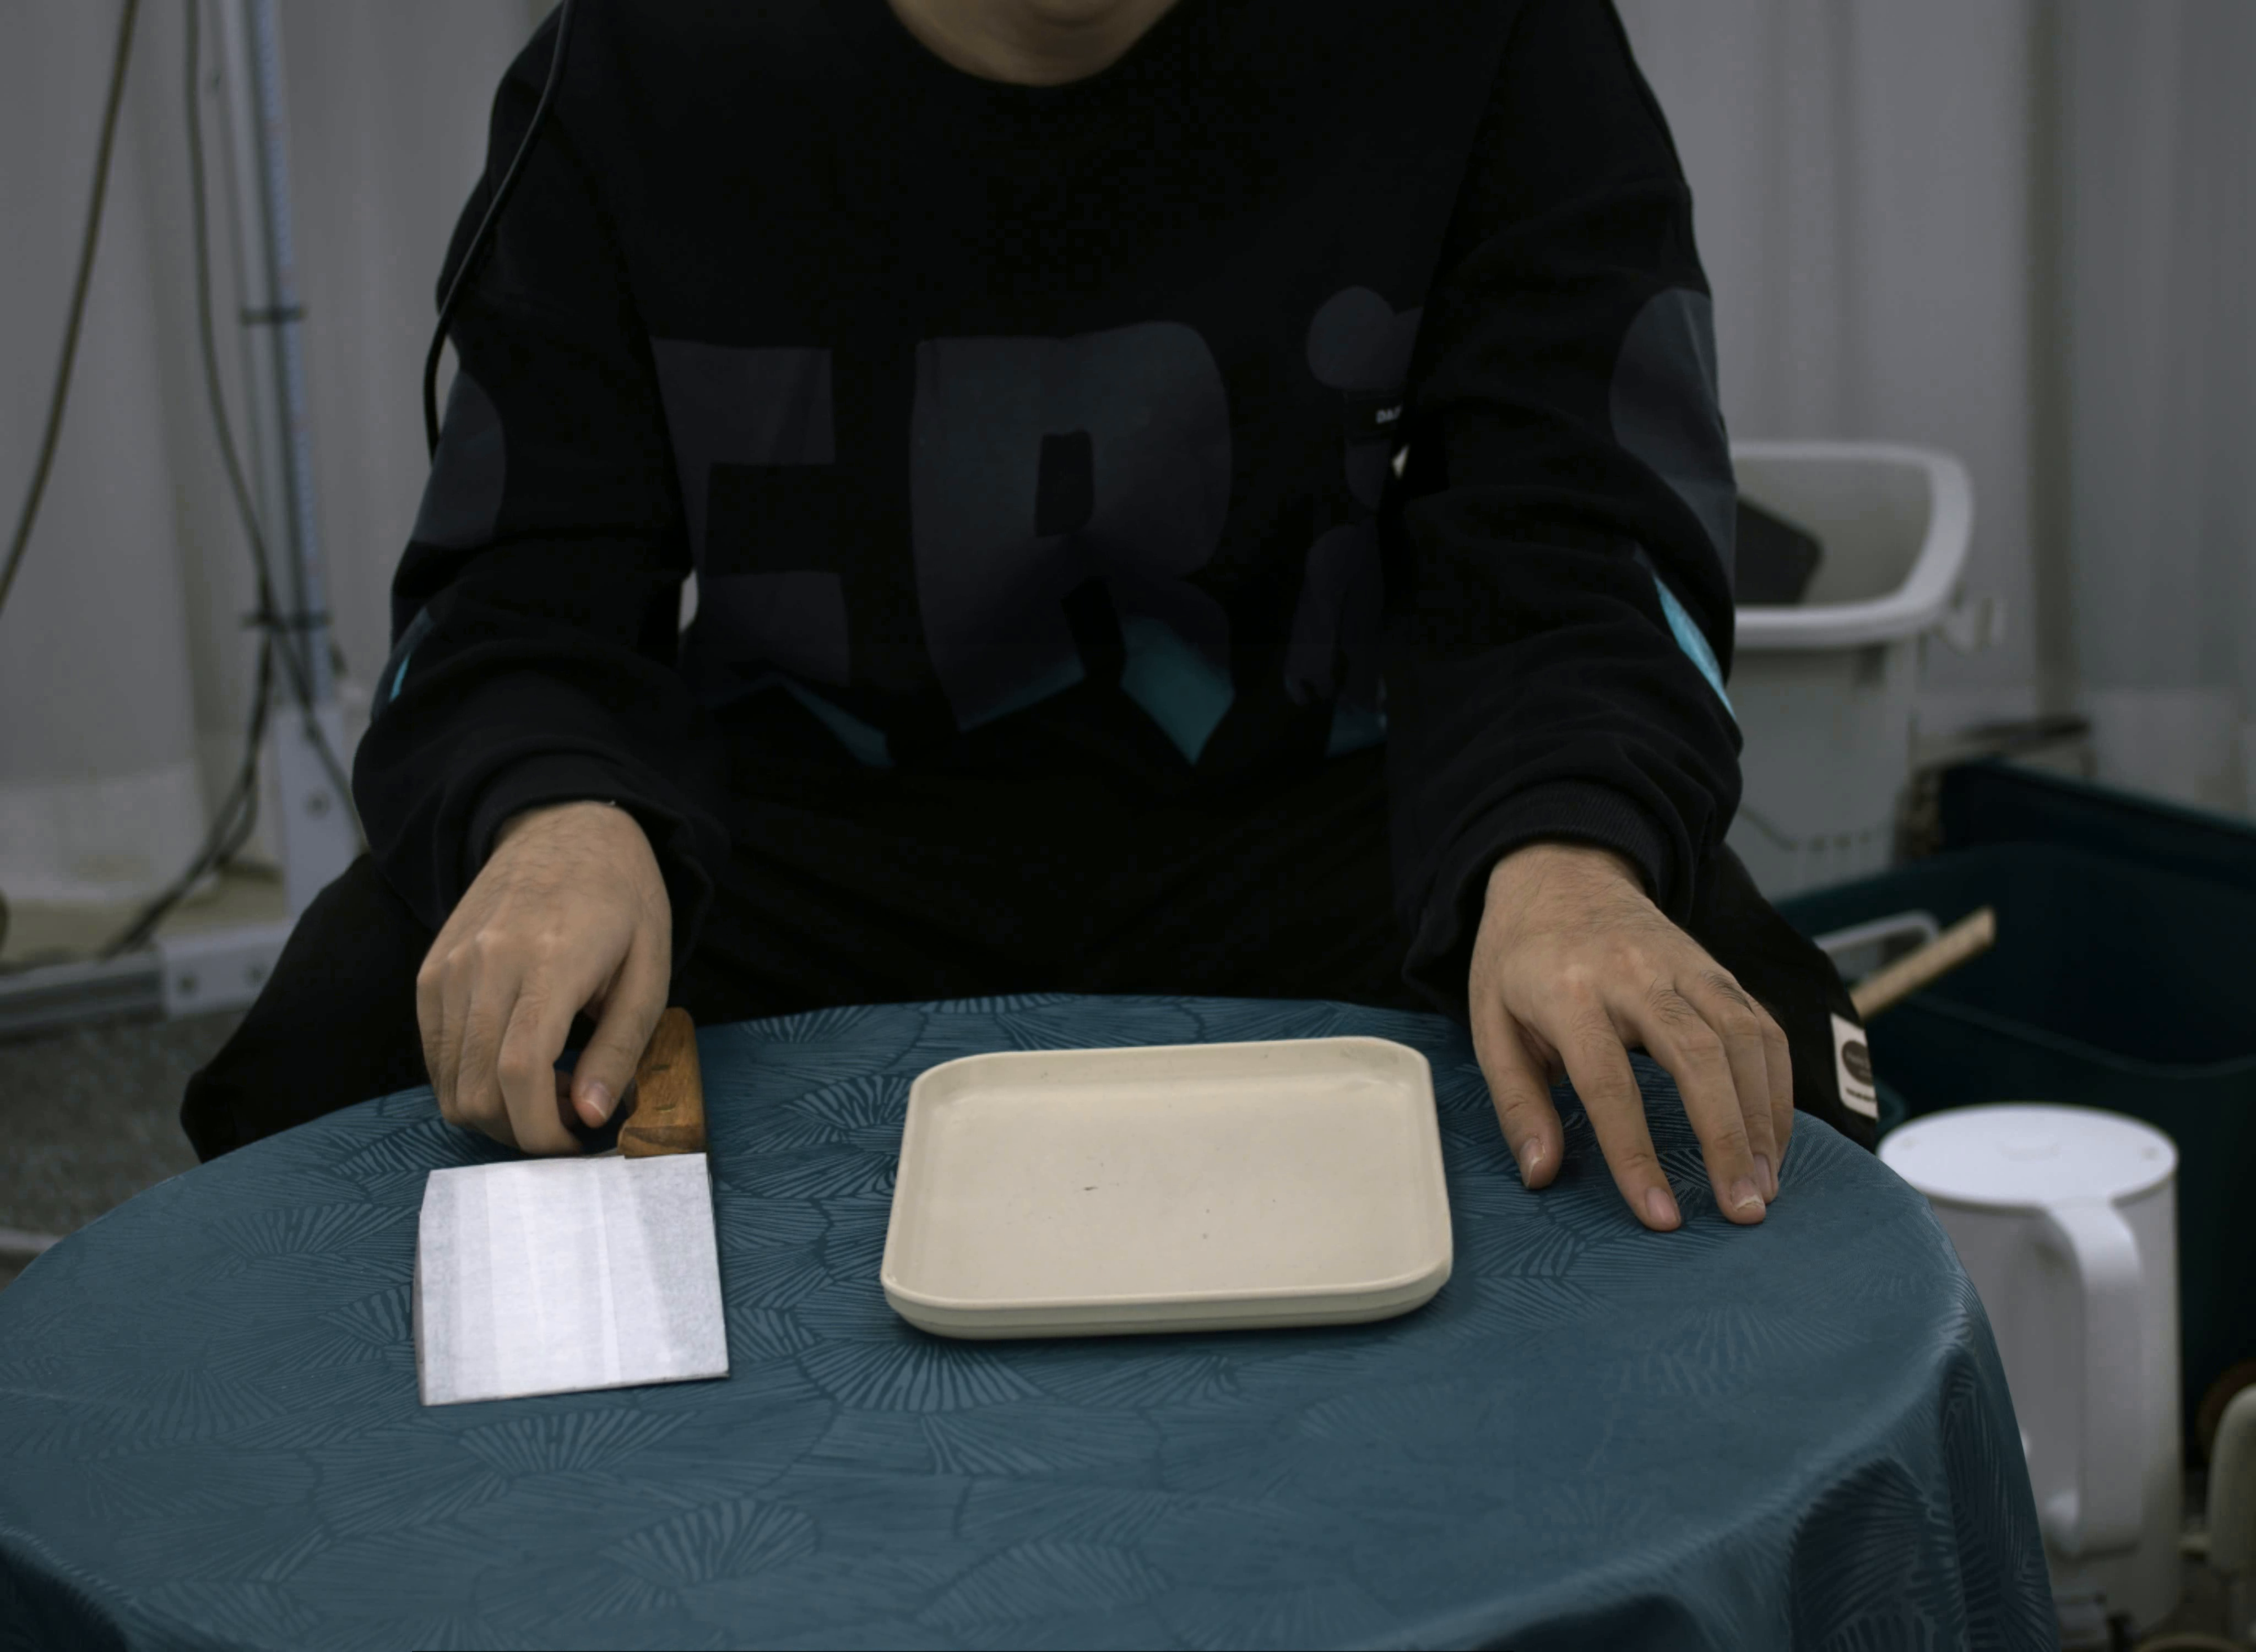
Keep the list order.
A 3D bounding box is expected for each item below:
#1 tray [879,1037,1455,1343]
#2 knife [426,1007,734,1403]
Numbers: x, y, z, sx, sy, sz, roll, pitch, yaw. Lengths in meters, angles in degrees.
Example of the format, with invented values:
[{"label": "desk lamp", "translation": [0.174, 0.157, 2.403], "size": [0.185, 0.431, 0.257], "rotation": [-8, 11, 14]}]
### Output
[{"label": "tray", "translation": [0.012, 0.111, 1.689], "size": [0.171, 0.017, 0.241], "rotation": [-3, 15, 2]}, {"label": "knife", "translation": [-0.173, 0.117, 1.711], "size": [0.092, 0.021, 0.308], "rotation": [-6, 18, -5]}]
